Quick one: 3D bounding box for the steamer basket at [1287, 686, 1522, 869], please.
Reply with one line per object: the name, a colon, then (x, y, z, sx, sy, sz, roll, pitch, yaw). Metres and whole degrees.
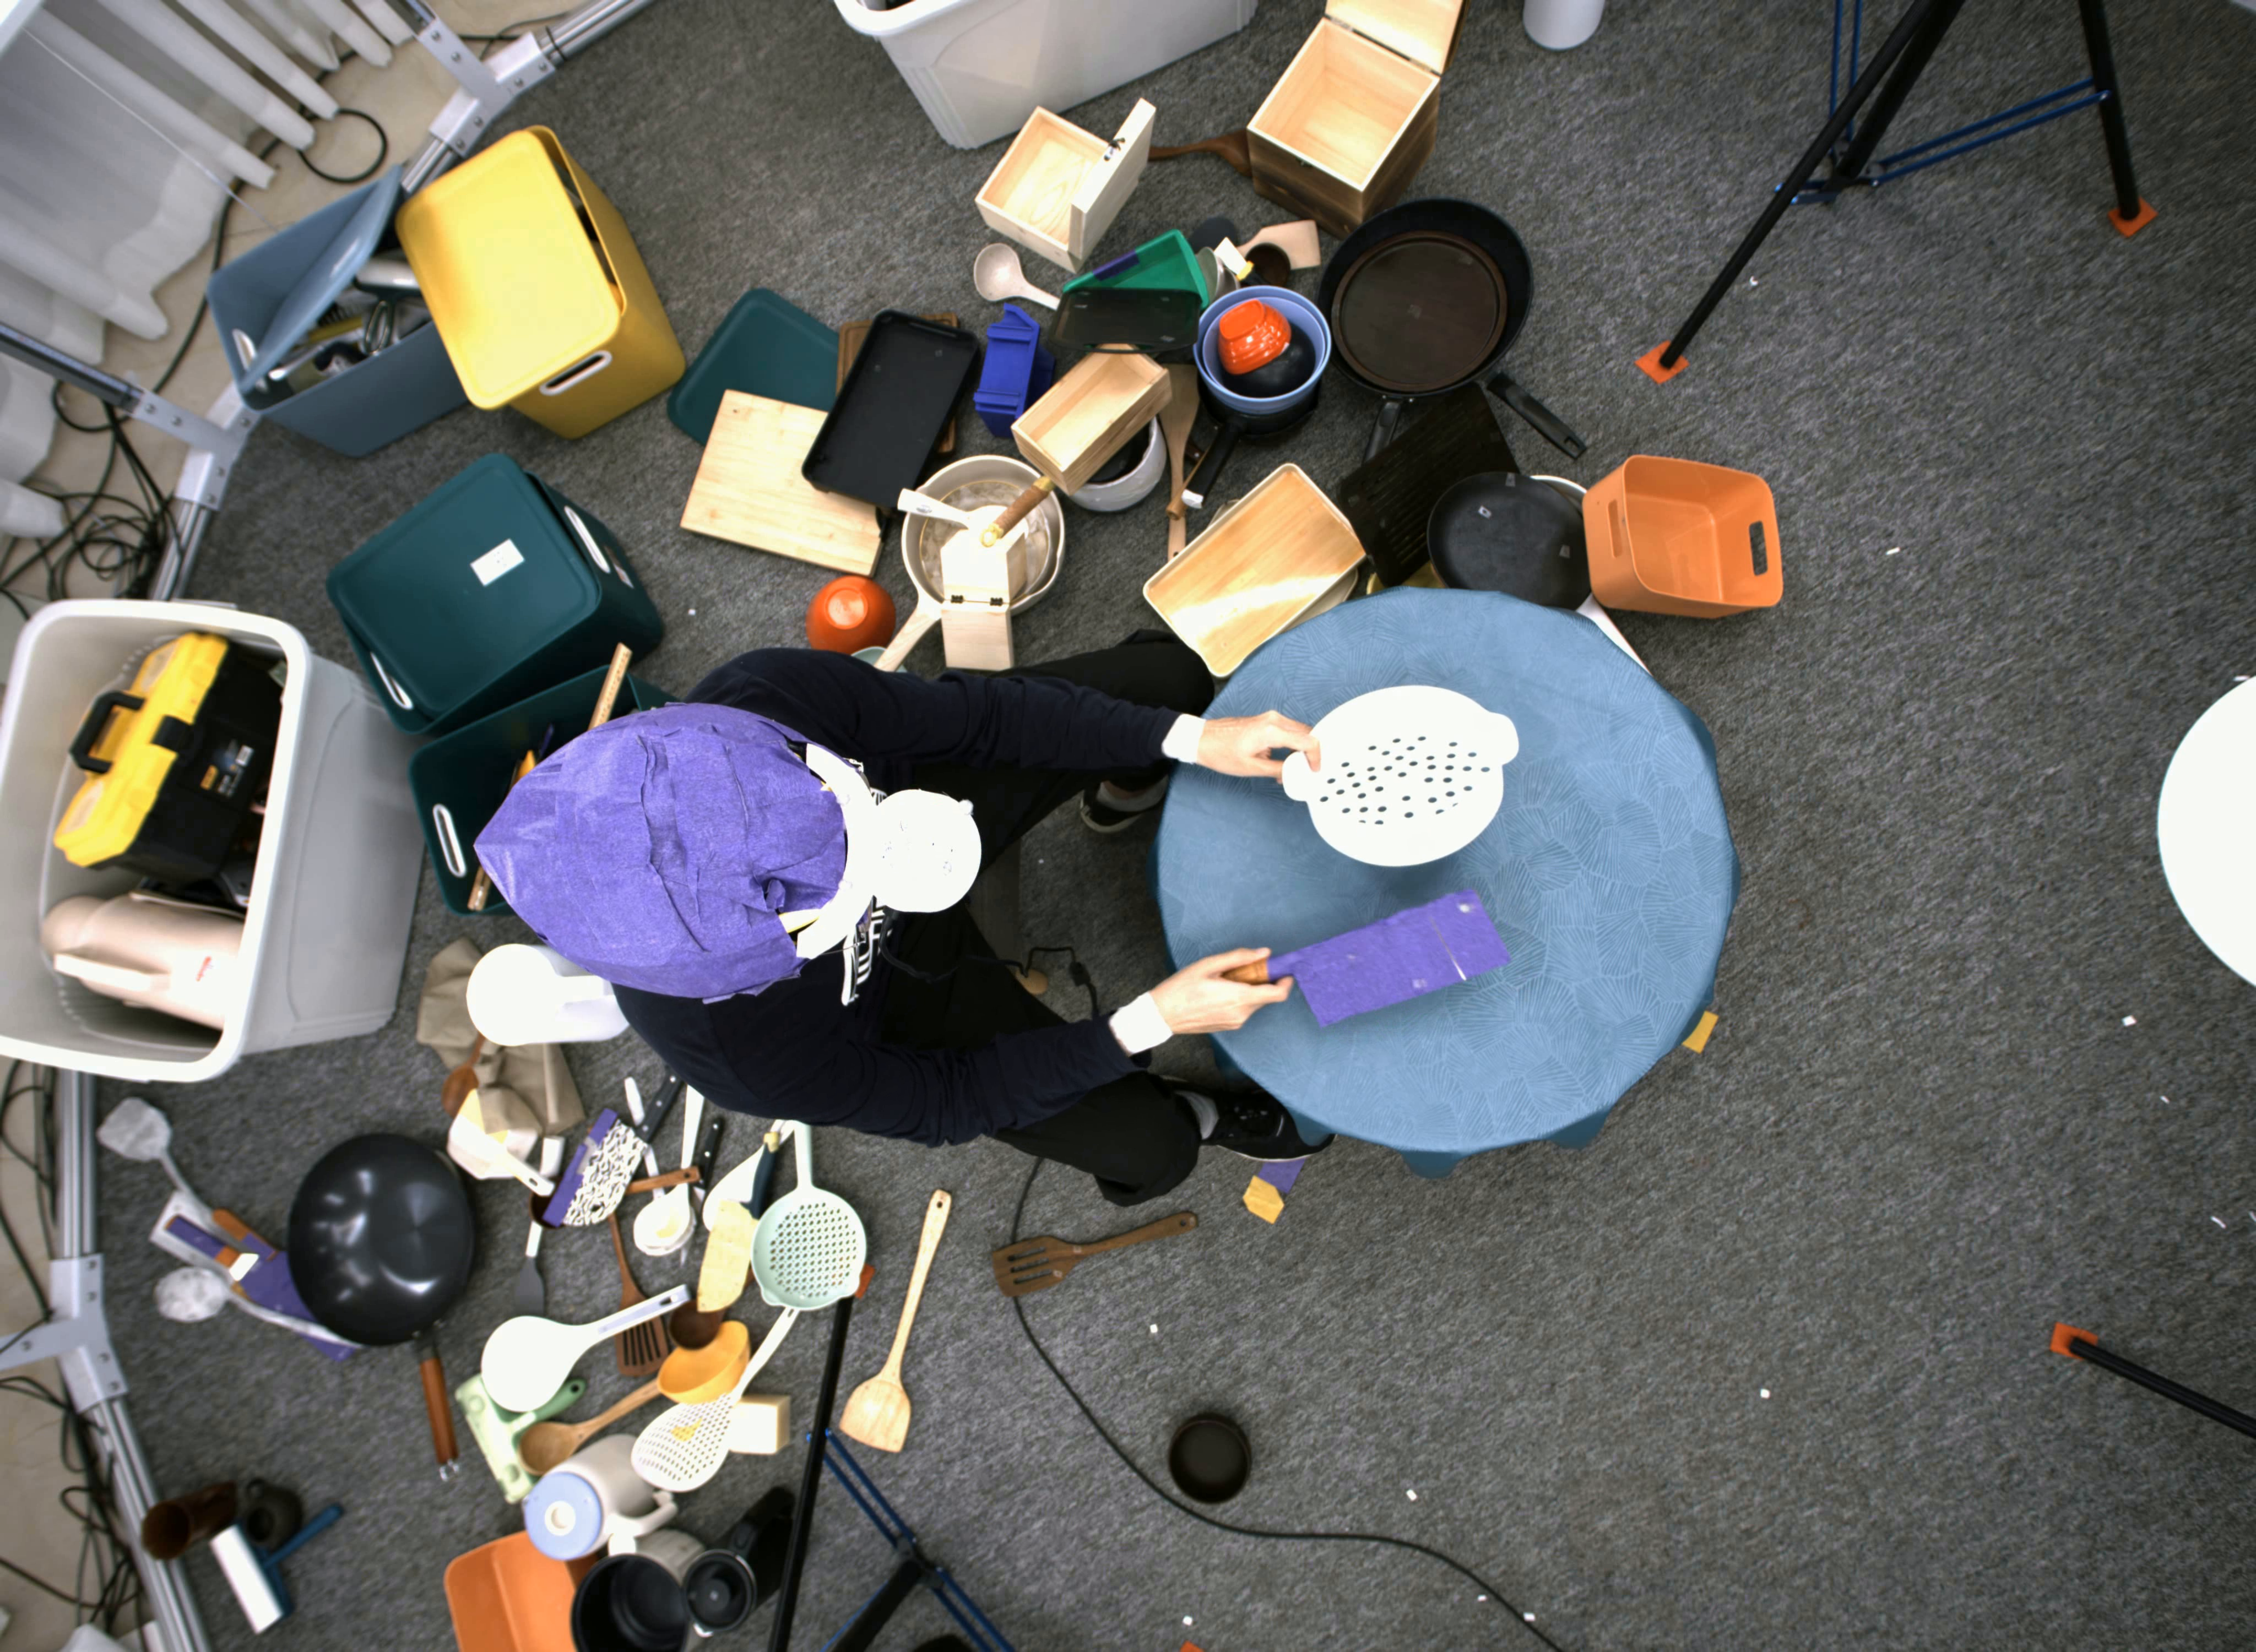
steamer basket: (0.276, -0.050, 1.361, 0.232, 0.070, 0.196, -13, 45, 16)

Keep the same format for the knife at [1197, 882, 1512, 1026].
knife: (0.225, 0.151, 1.392, 0.319, 0.031, 0.105, -22, 105, 25)
